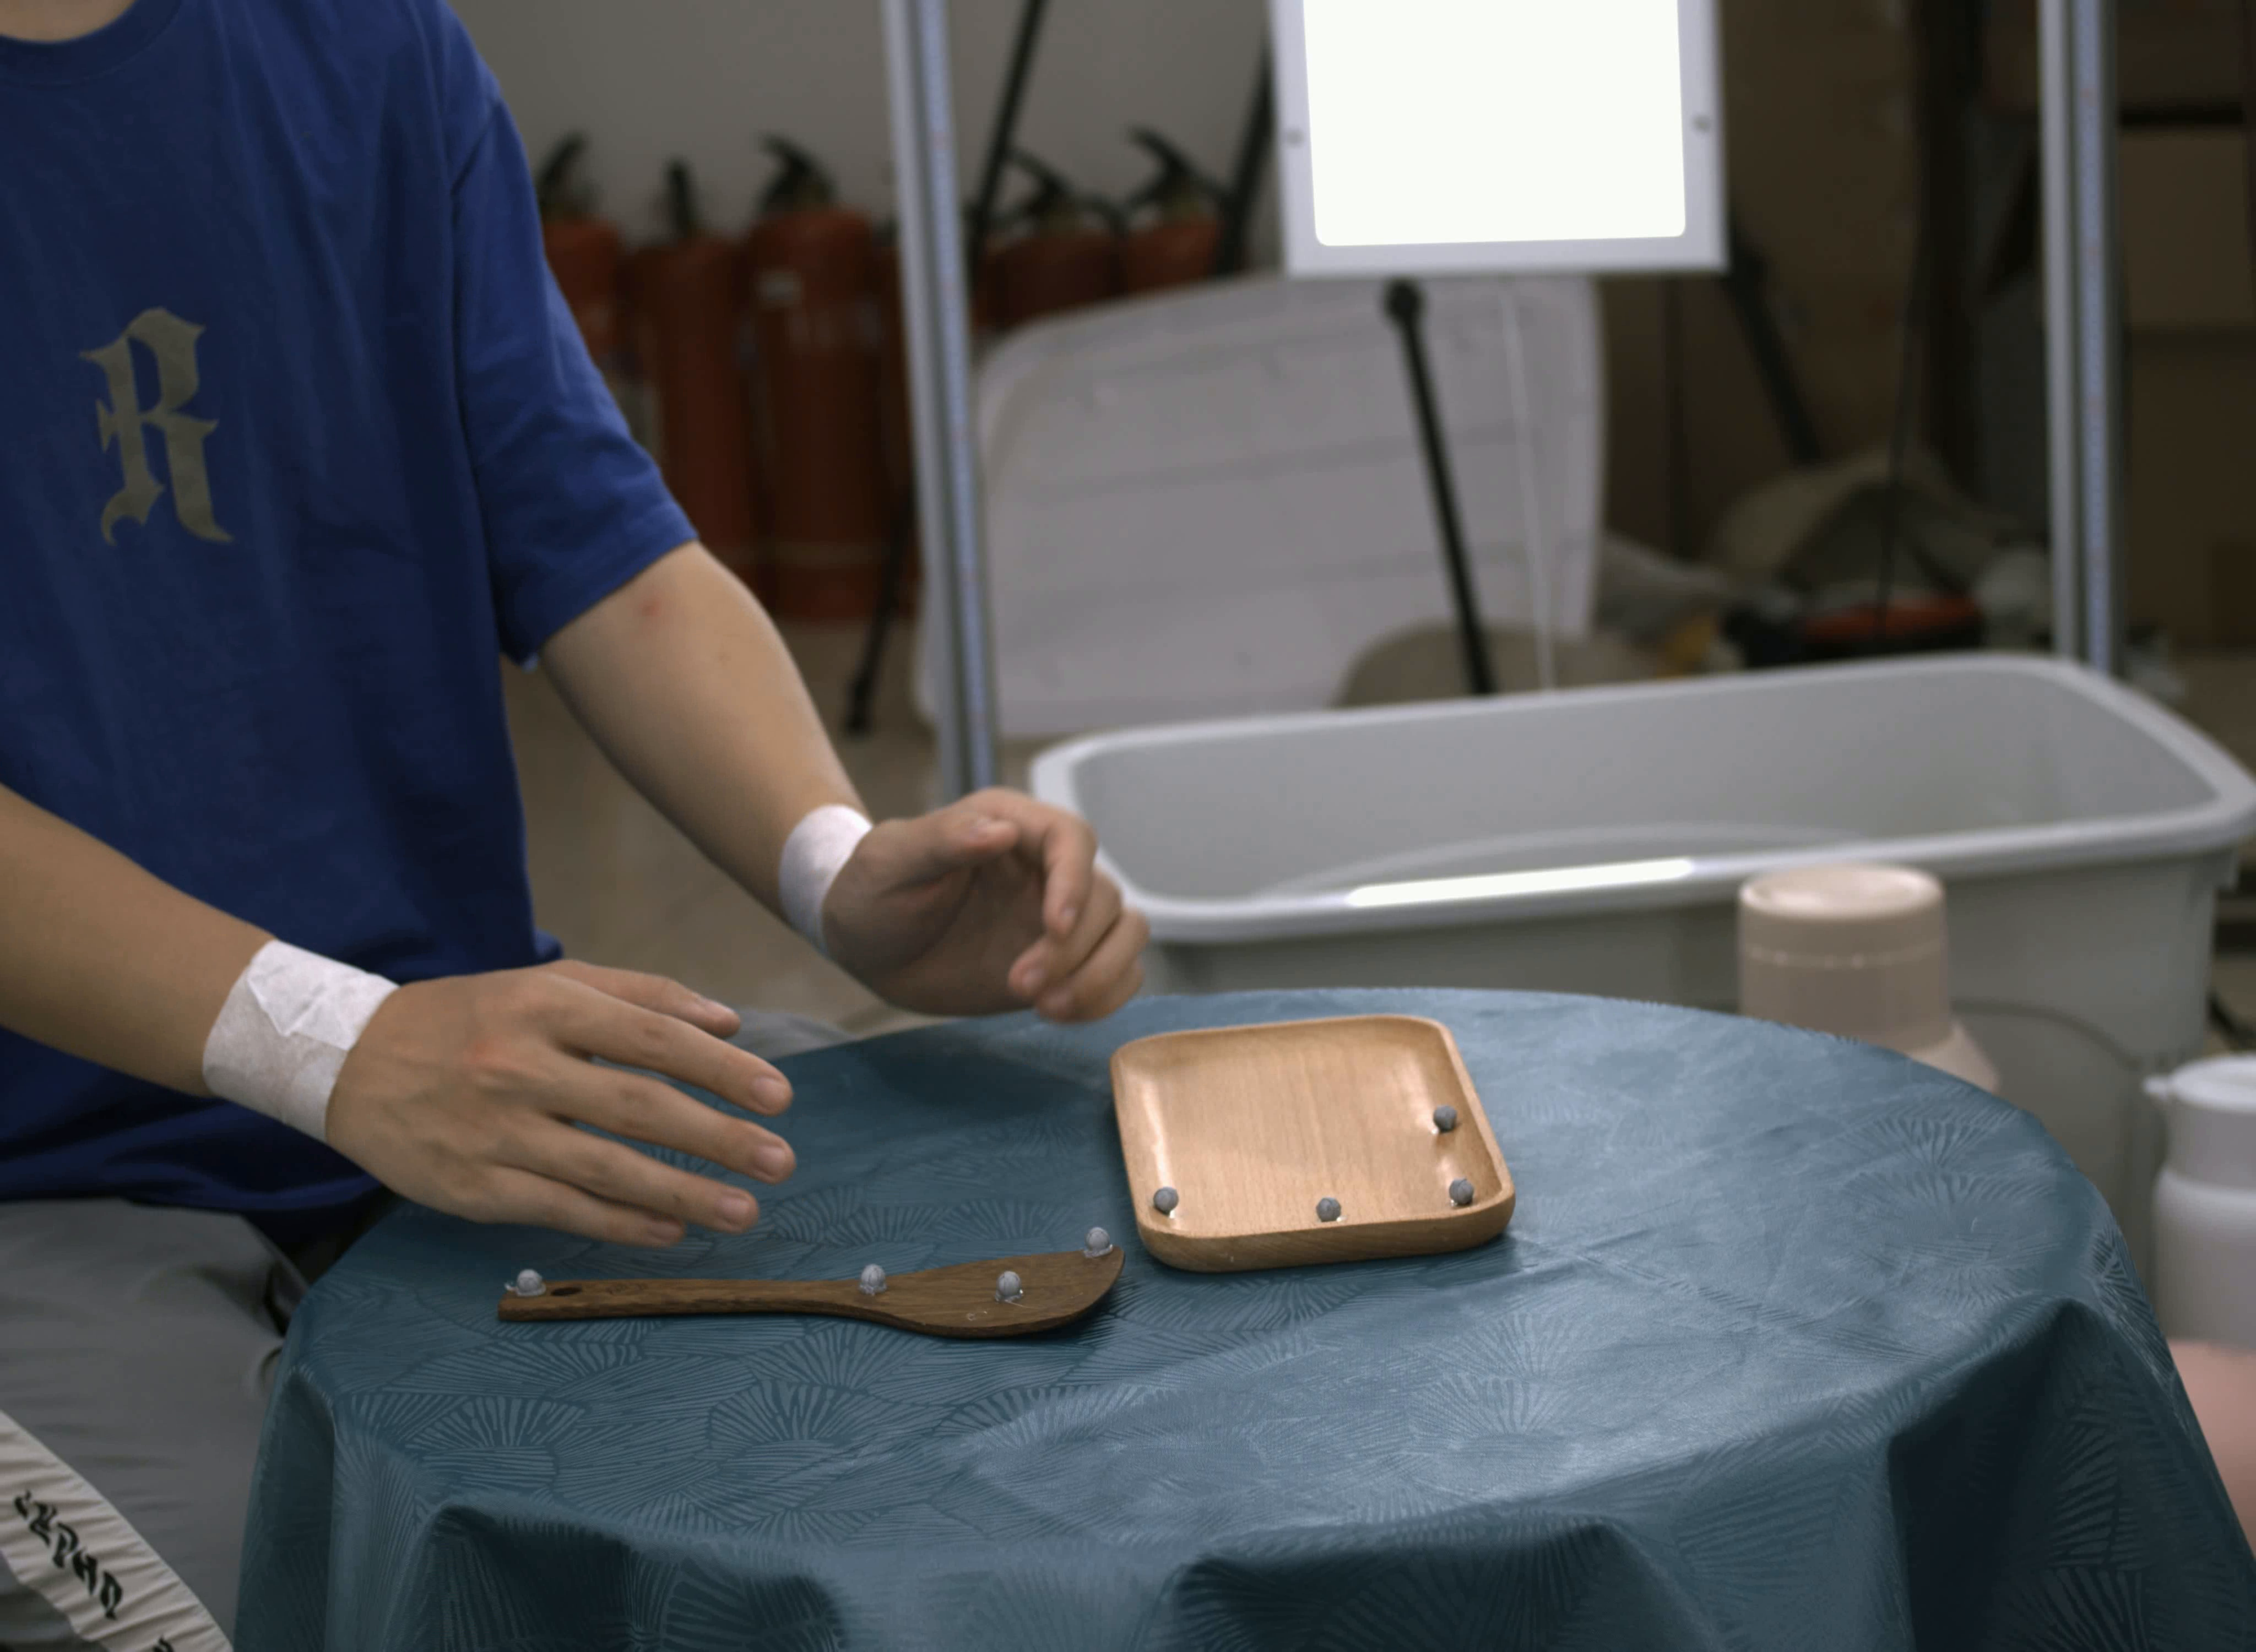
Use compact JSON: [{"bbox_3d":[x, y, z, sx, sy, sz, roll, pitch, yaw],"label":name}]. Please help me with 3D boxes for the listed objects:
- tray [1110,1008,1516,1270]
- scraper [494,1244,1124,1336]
[{"bbox_3d":[0.061,0.107,1.918,0.130,0.023,0.250,-3,13,-1],"label":"tray"},{"bbox_3d":[-0.106,0.153,1.807,0.213,0.011,0.075,-2,13,15],"label":"scraper"}]
